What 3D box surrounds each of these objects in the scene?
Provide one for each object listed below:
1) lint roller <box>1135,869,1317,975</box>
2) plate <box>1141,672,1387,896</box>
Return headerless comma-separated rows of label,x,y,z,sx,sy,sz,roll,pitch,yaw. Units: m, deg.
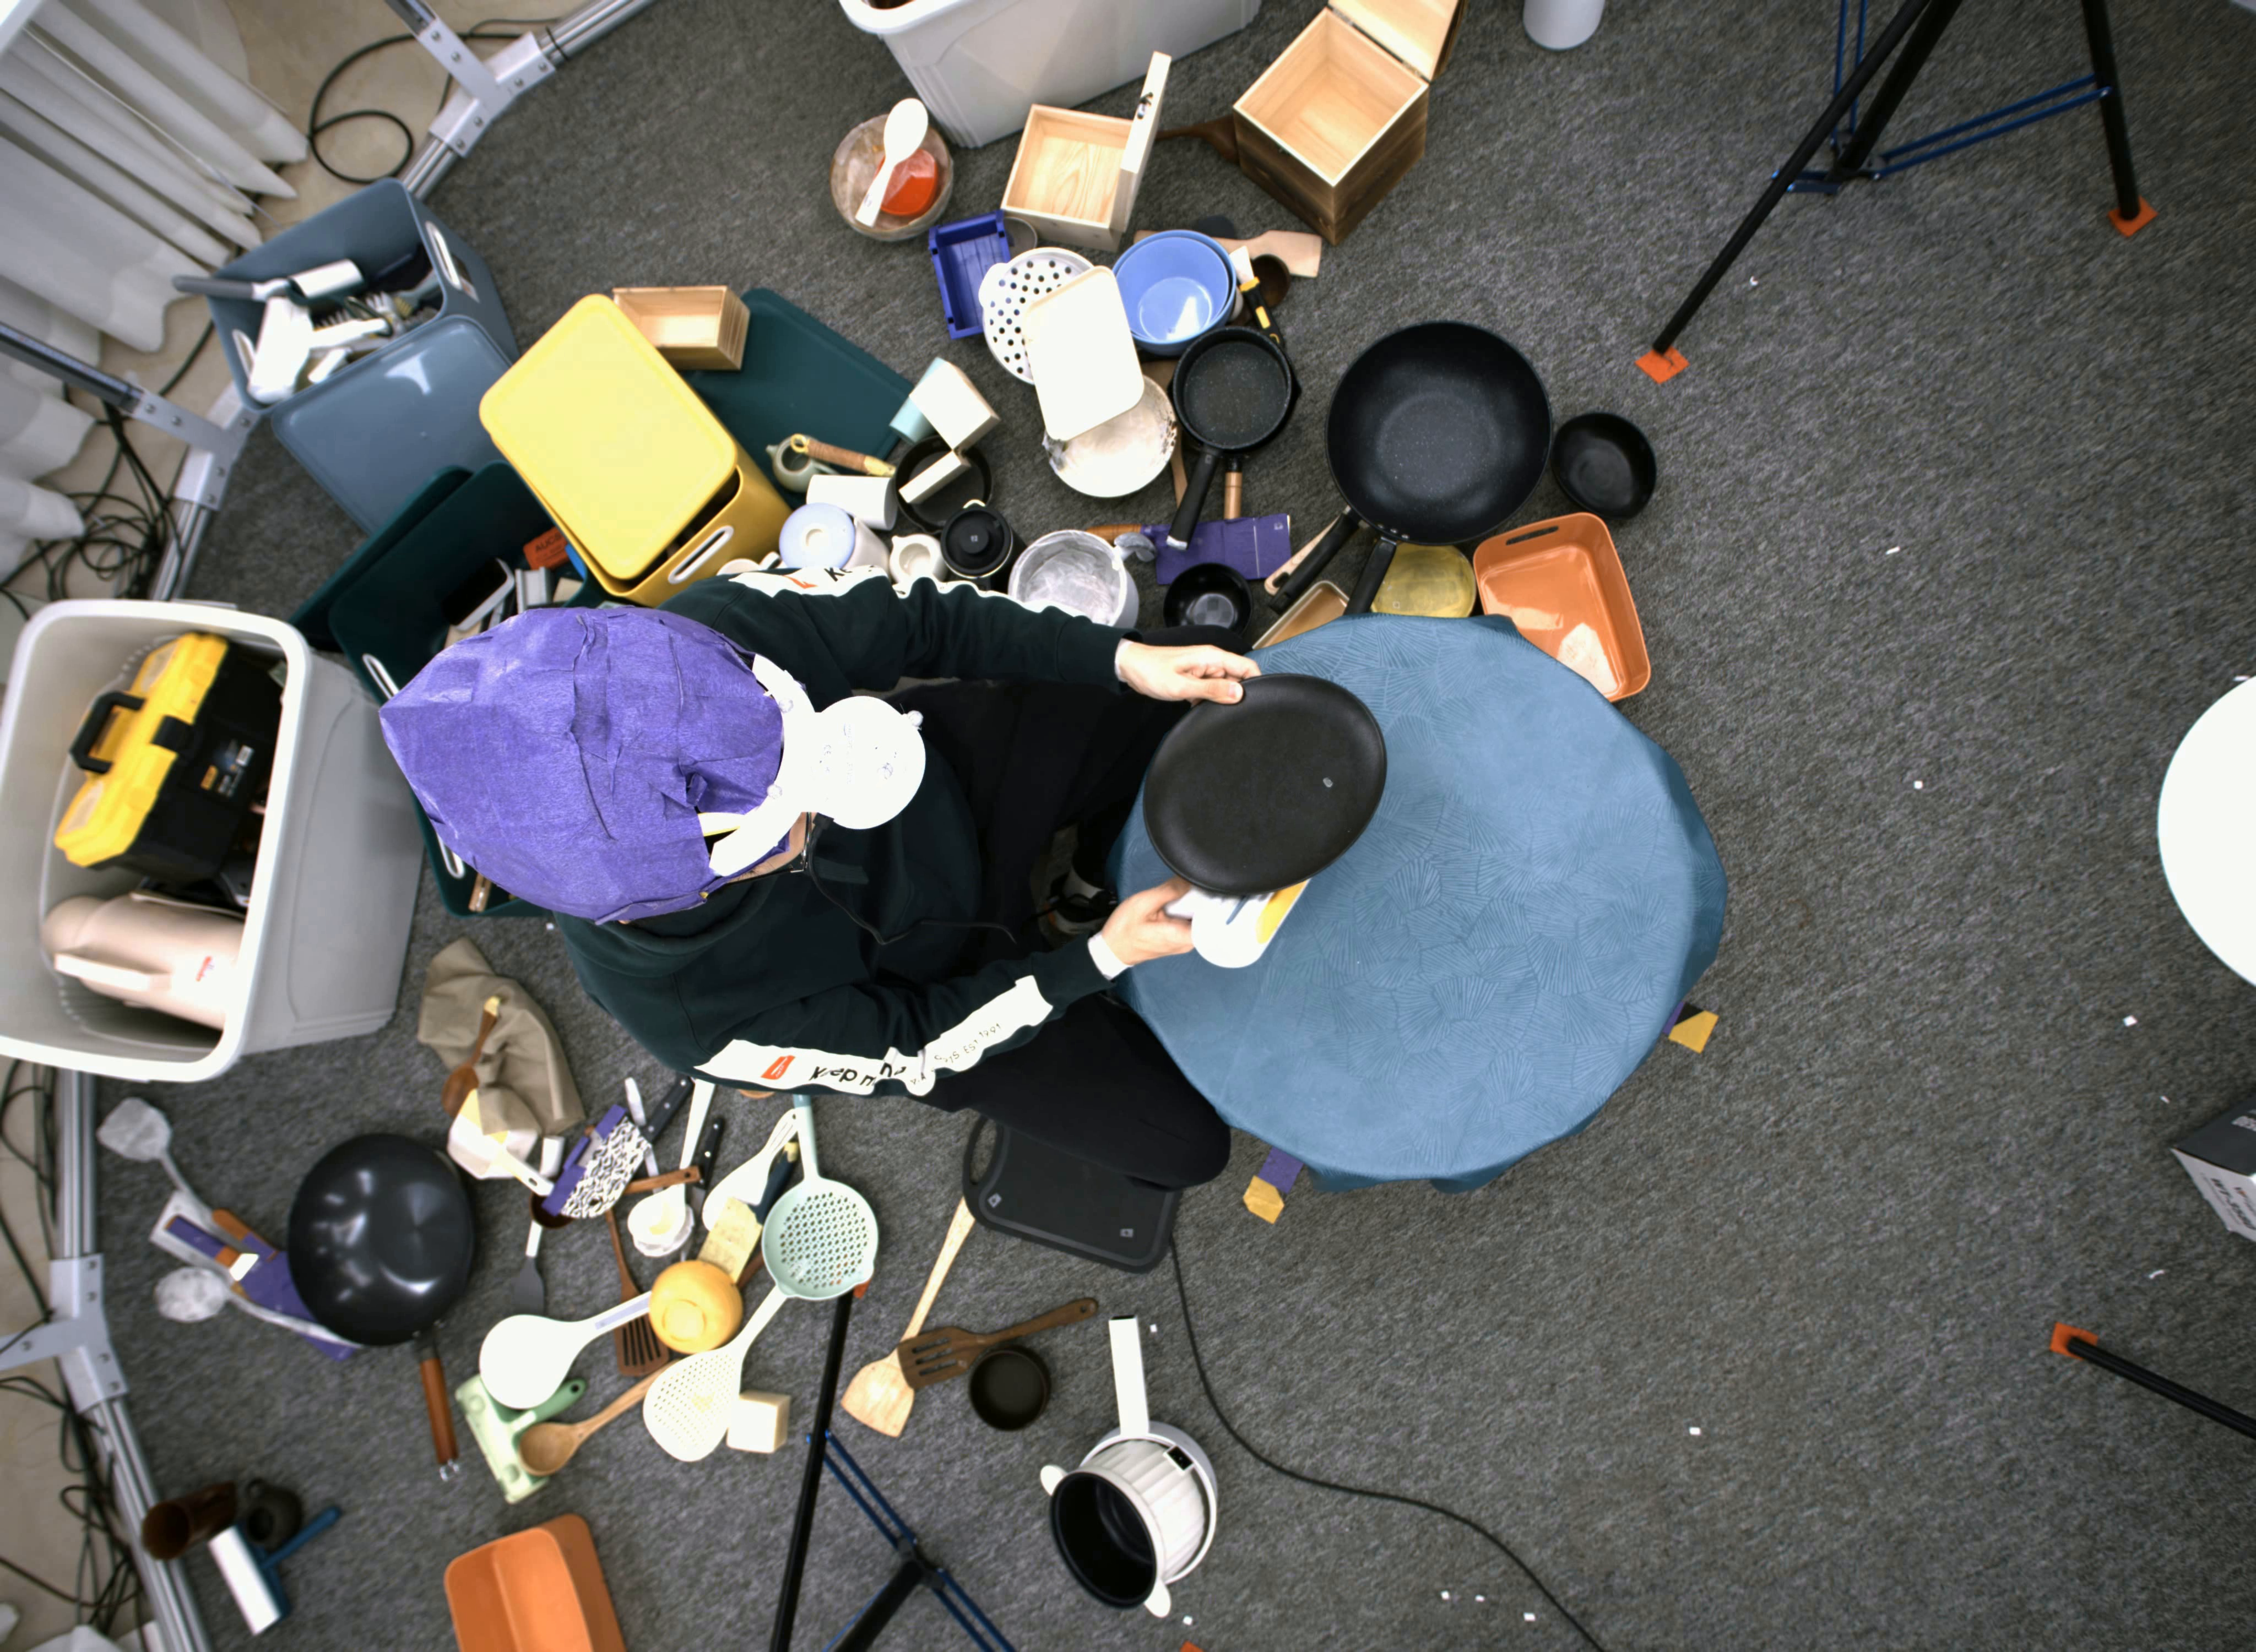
lint roller,0.078,0.070,1.354,0.194,0.075,0.188,1,42,41
plate,0.129,-0.040,1.315,0.246,0.024,0.239,-12,60,20
